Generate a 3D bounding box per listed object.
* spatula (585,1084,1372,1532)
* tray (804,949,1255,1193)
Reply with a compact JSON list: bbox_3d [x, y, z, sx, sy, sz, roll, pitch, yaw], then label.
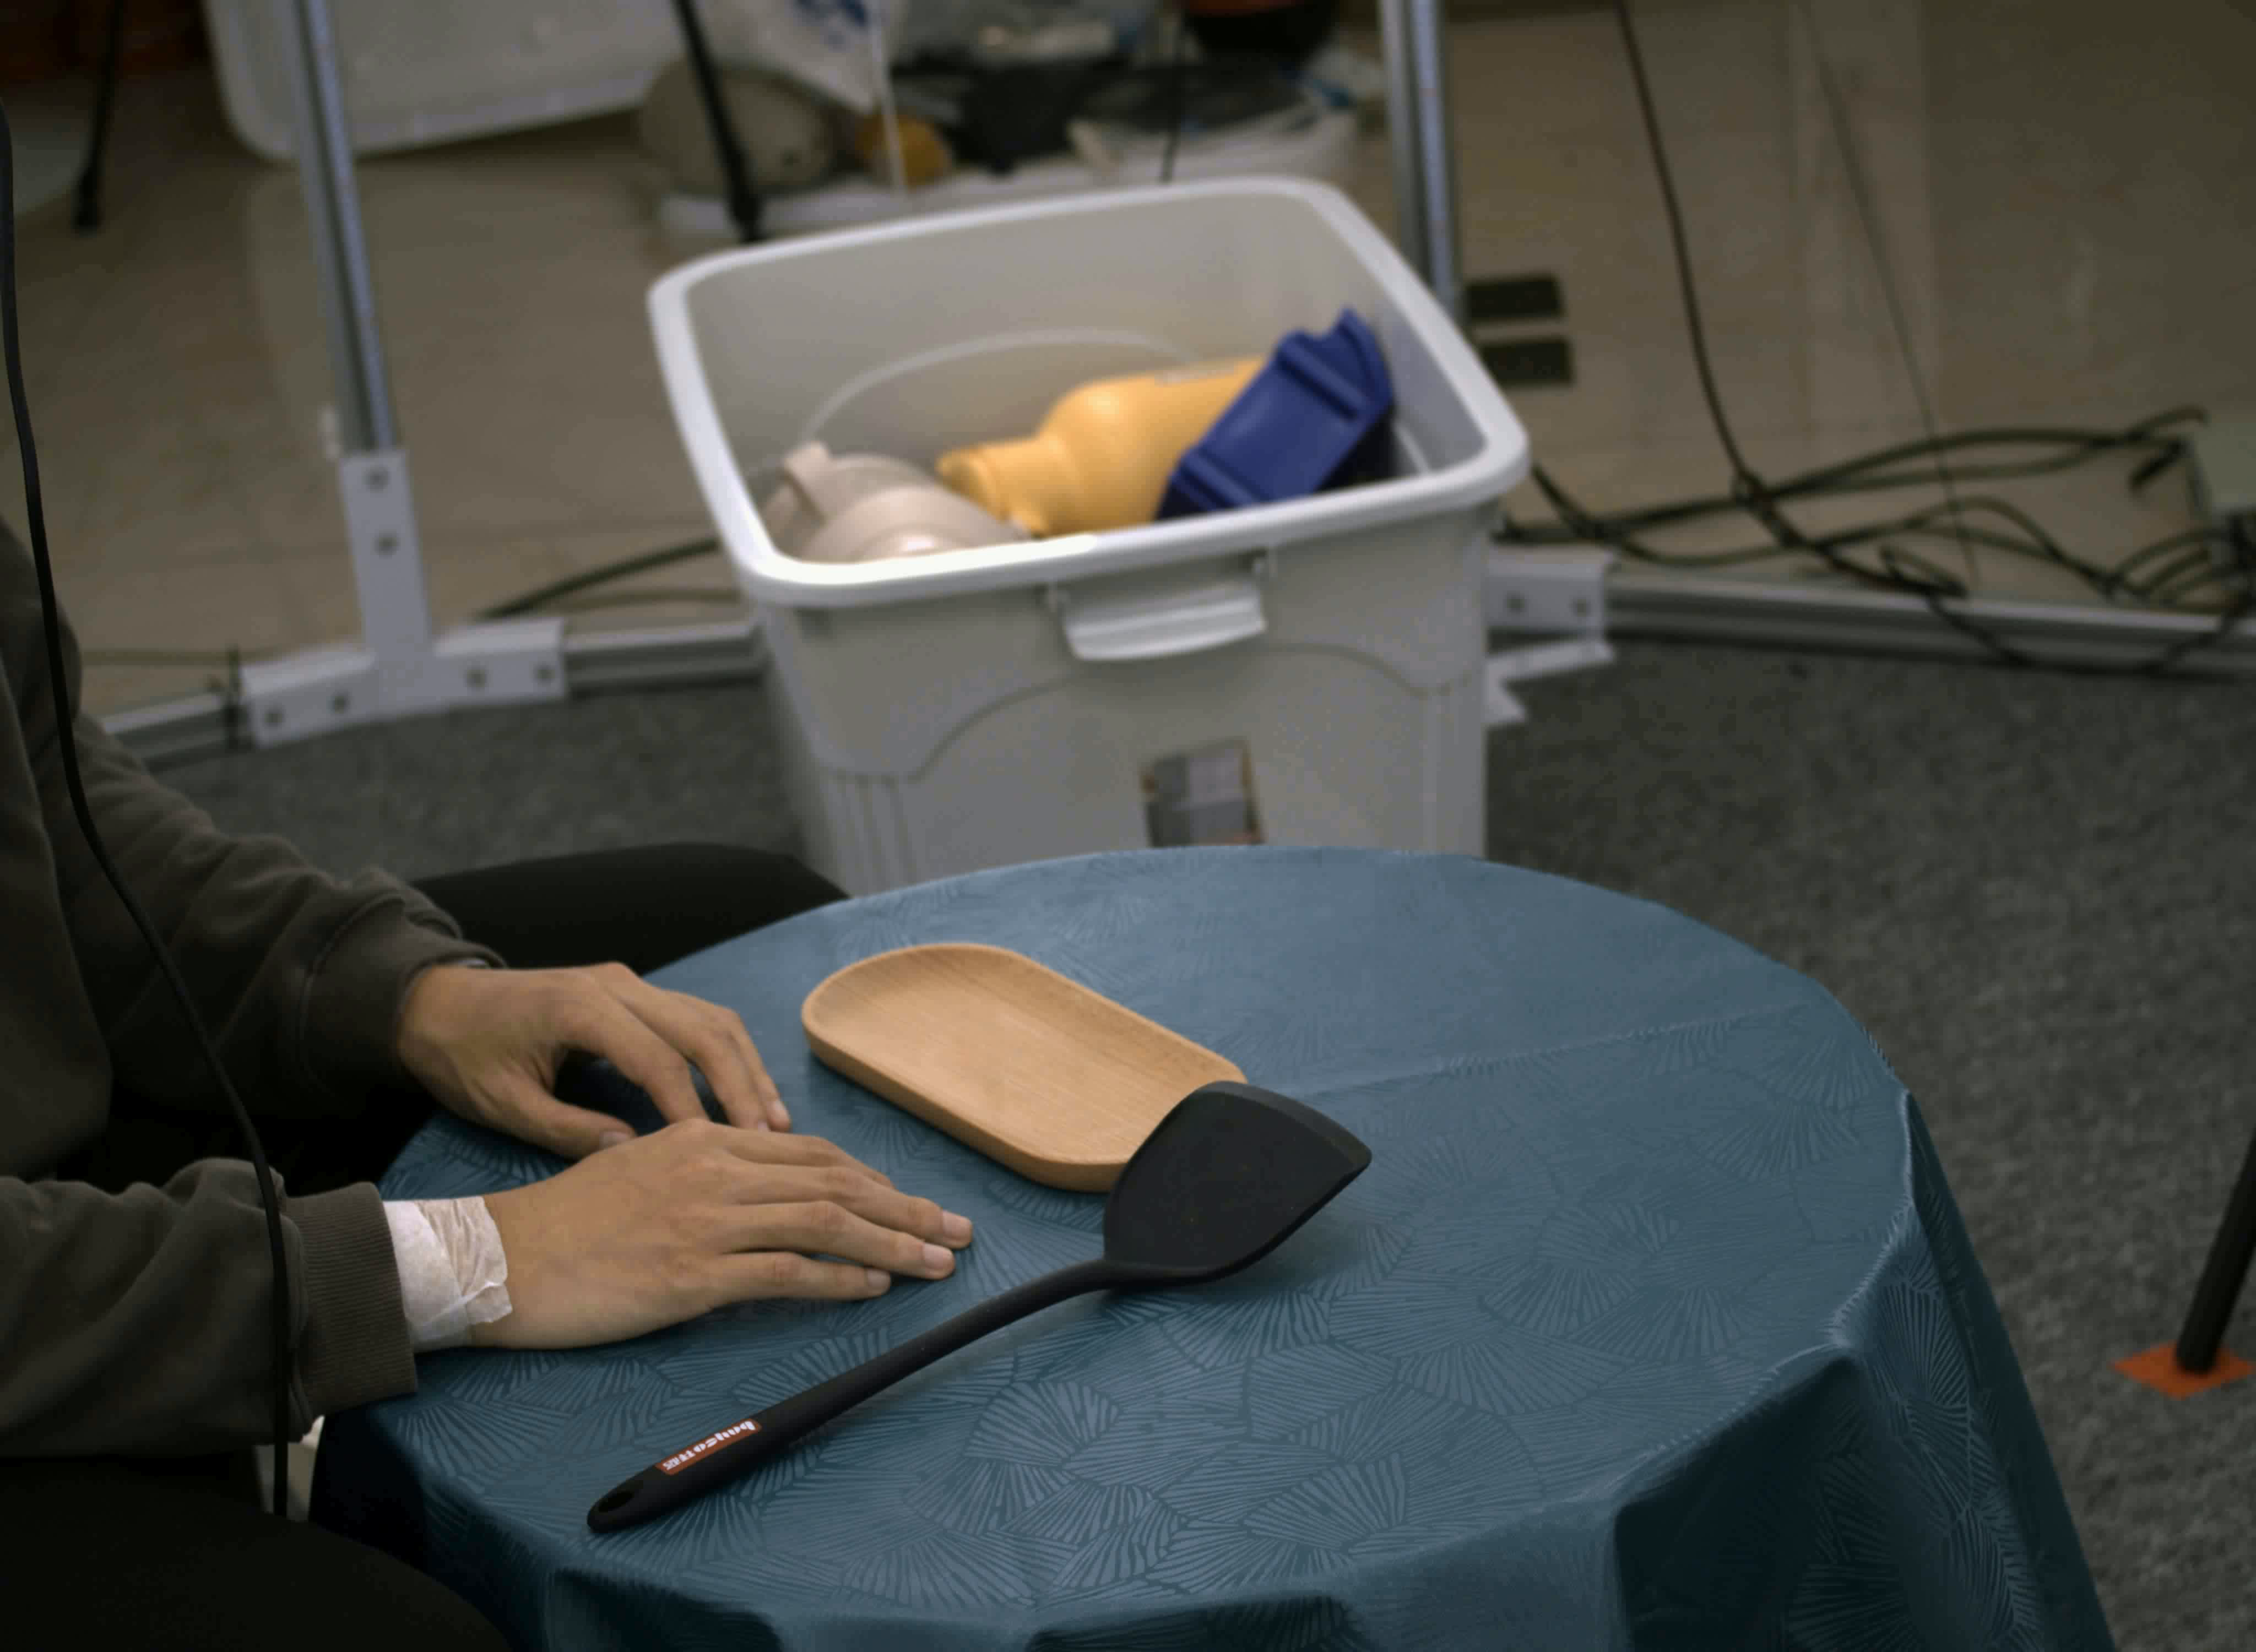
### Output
[{"bbox_3d":[-0.060,0.176,2.039,0.324,0.041,0.099,-22,28,-30],"label":"spatula"},{"bbox_3d":[-0.040,0.095,2.232,0.101,0.020,0.229,-23,31,-30],"label":"tray"}]
